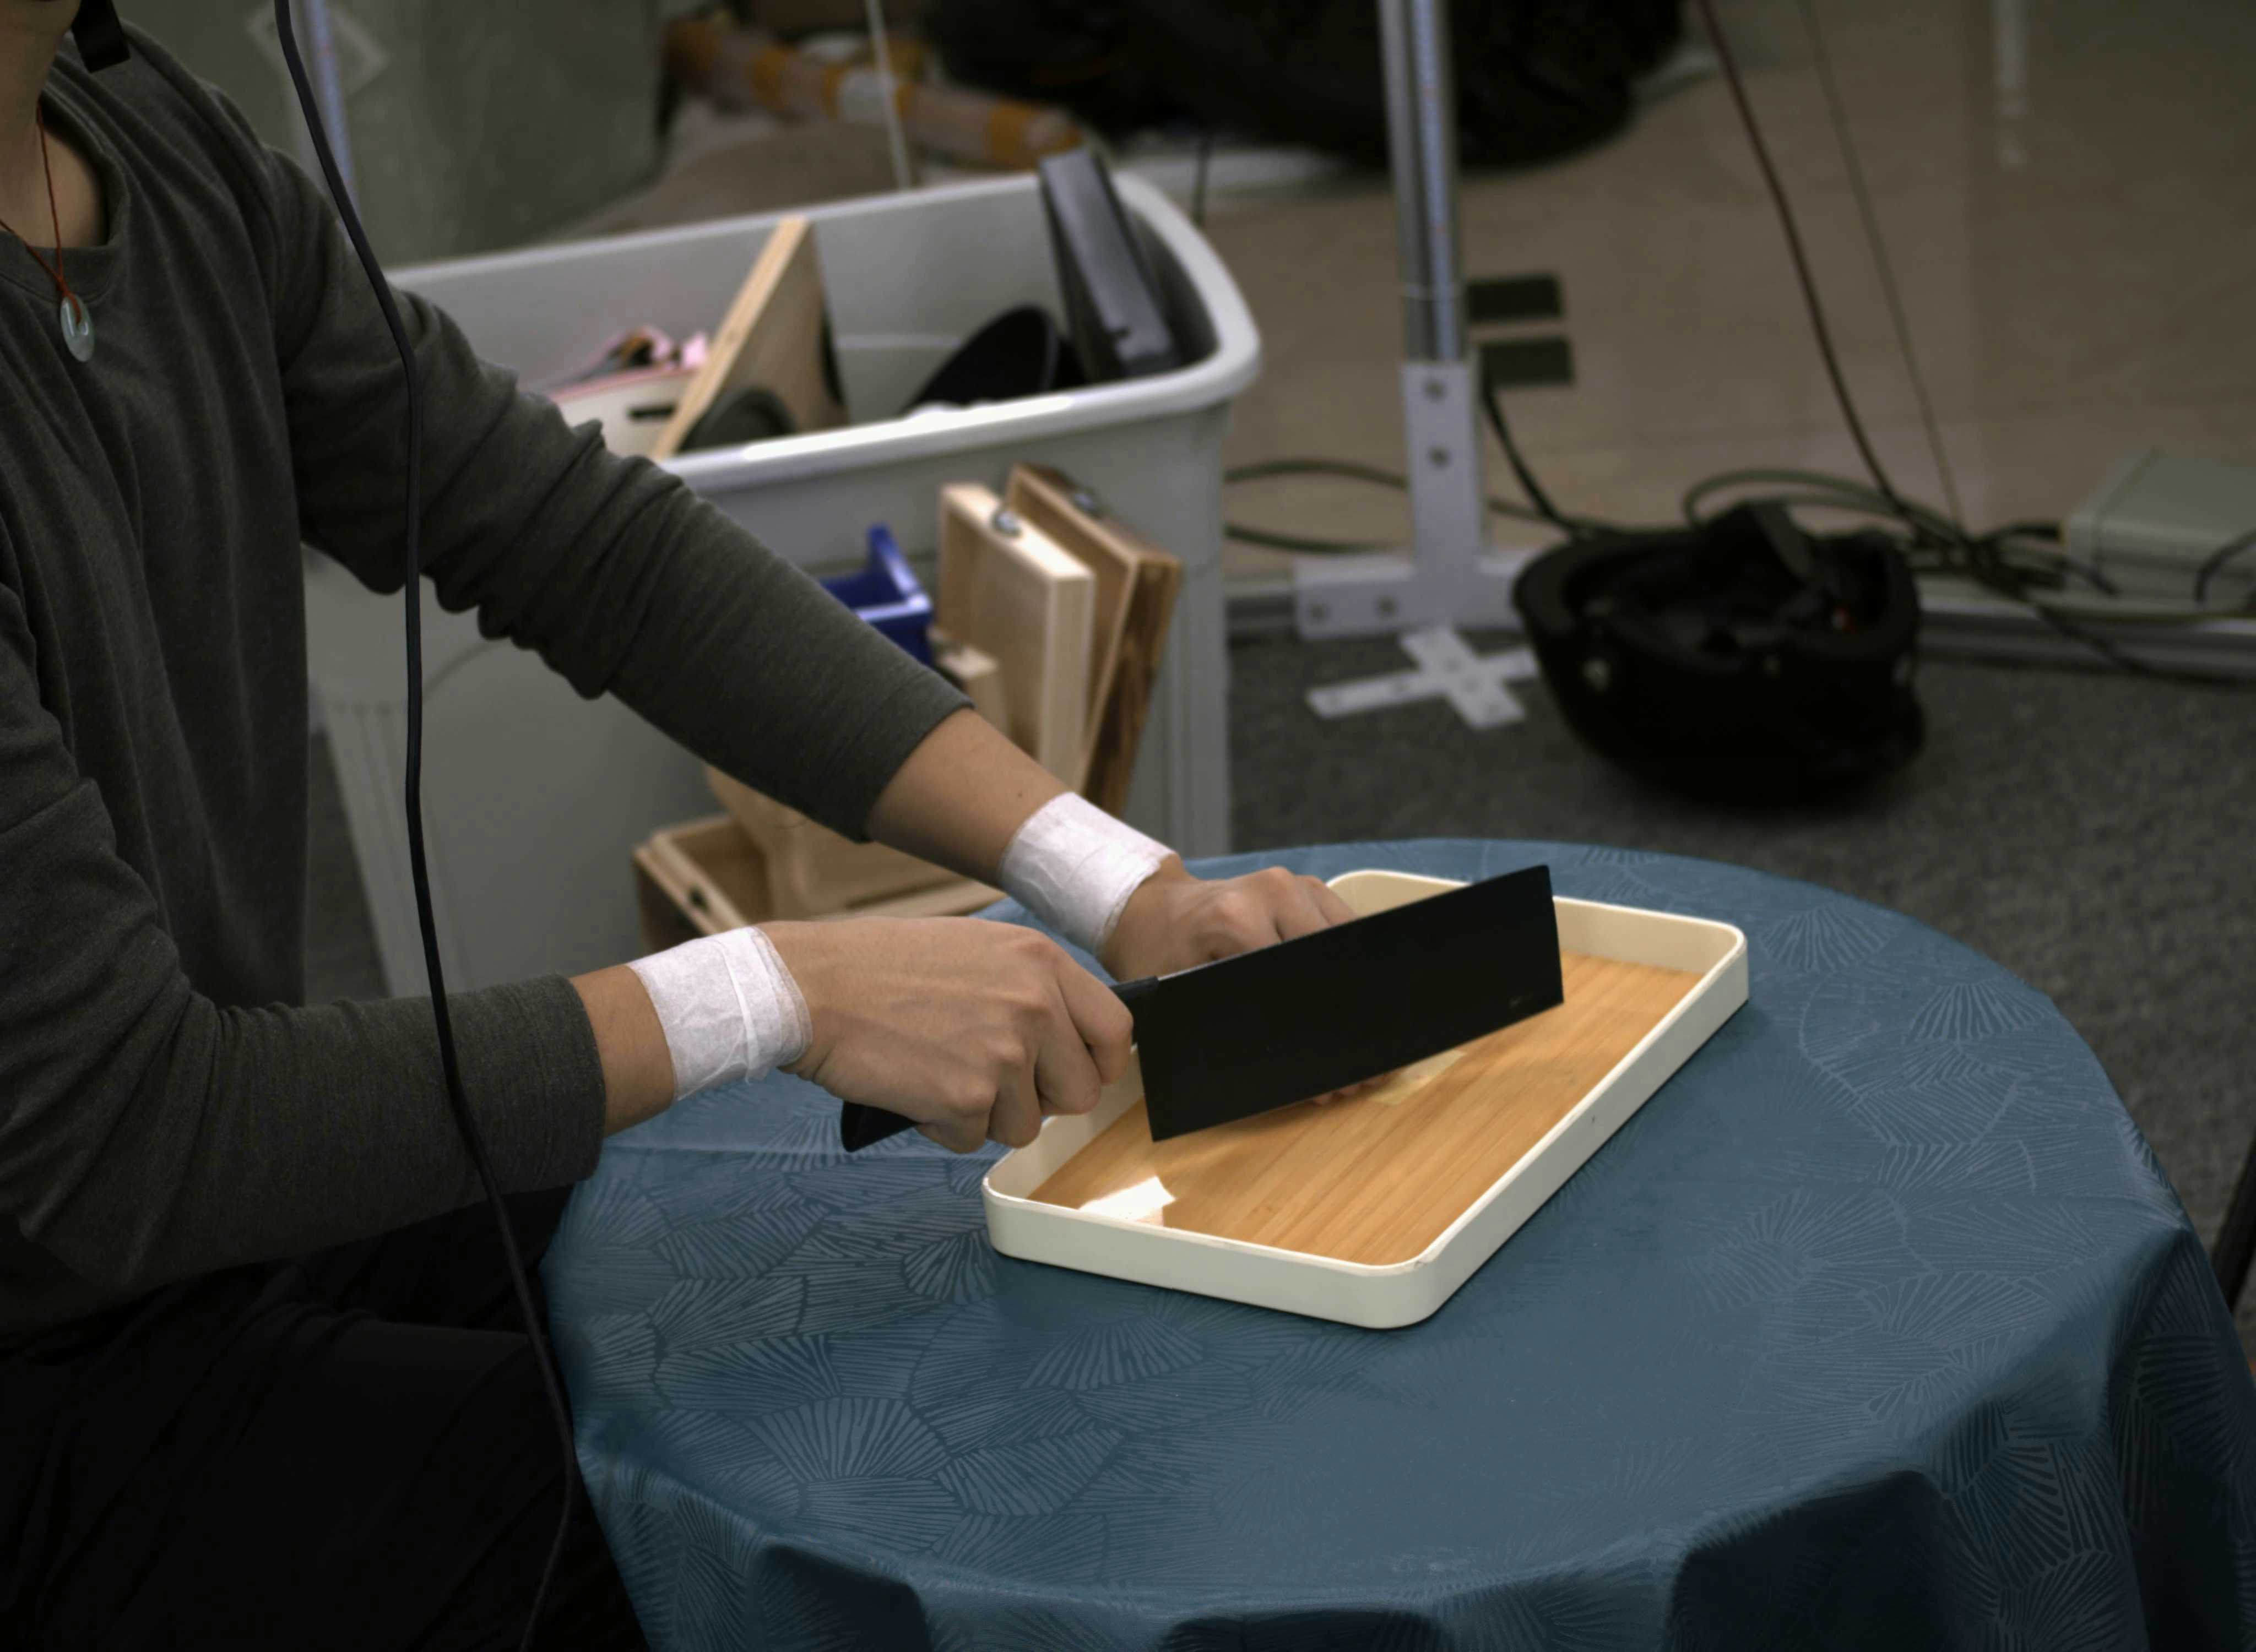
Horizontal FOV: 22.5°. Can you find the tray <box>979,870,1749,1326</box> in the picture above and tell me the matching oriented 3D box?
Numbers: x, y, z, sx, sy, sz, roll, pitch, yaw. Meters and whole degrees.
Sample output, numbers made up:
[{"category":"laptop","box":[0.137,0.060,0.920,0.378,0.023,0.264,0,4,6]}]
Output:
[{"category":"tray","box":[0.095,0.100,2.181,0.191,0.028,0.297,9,29,31]}]

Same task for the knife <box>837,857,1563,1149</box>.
[{"category":"knife","box":[0.031,0.077,2.141,0.301,0.082,0.020,-12,22,-21]}]
